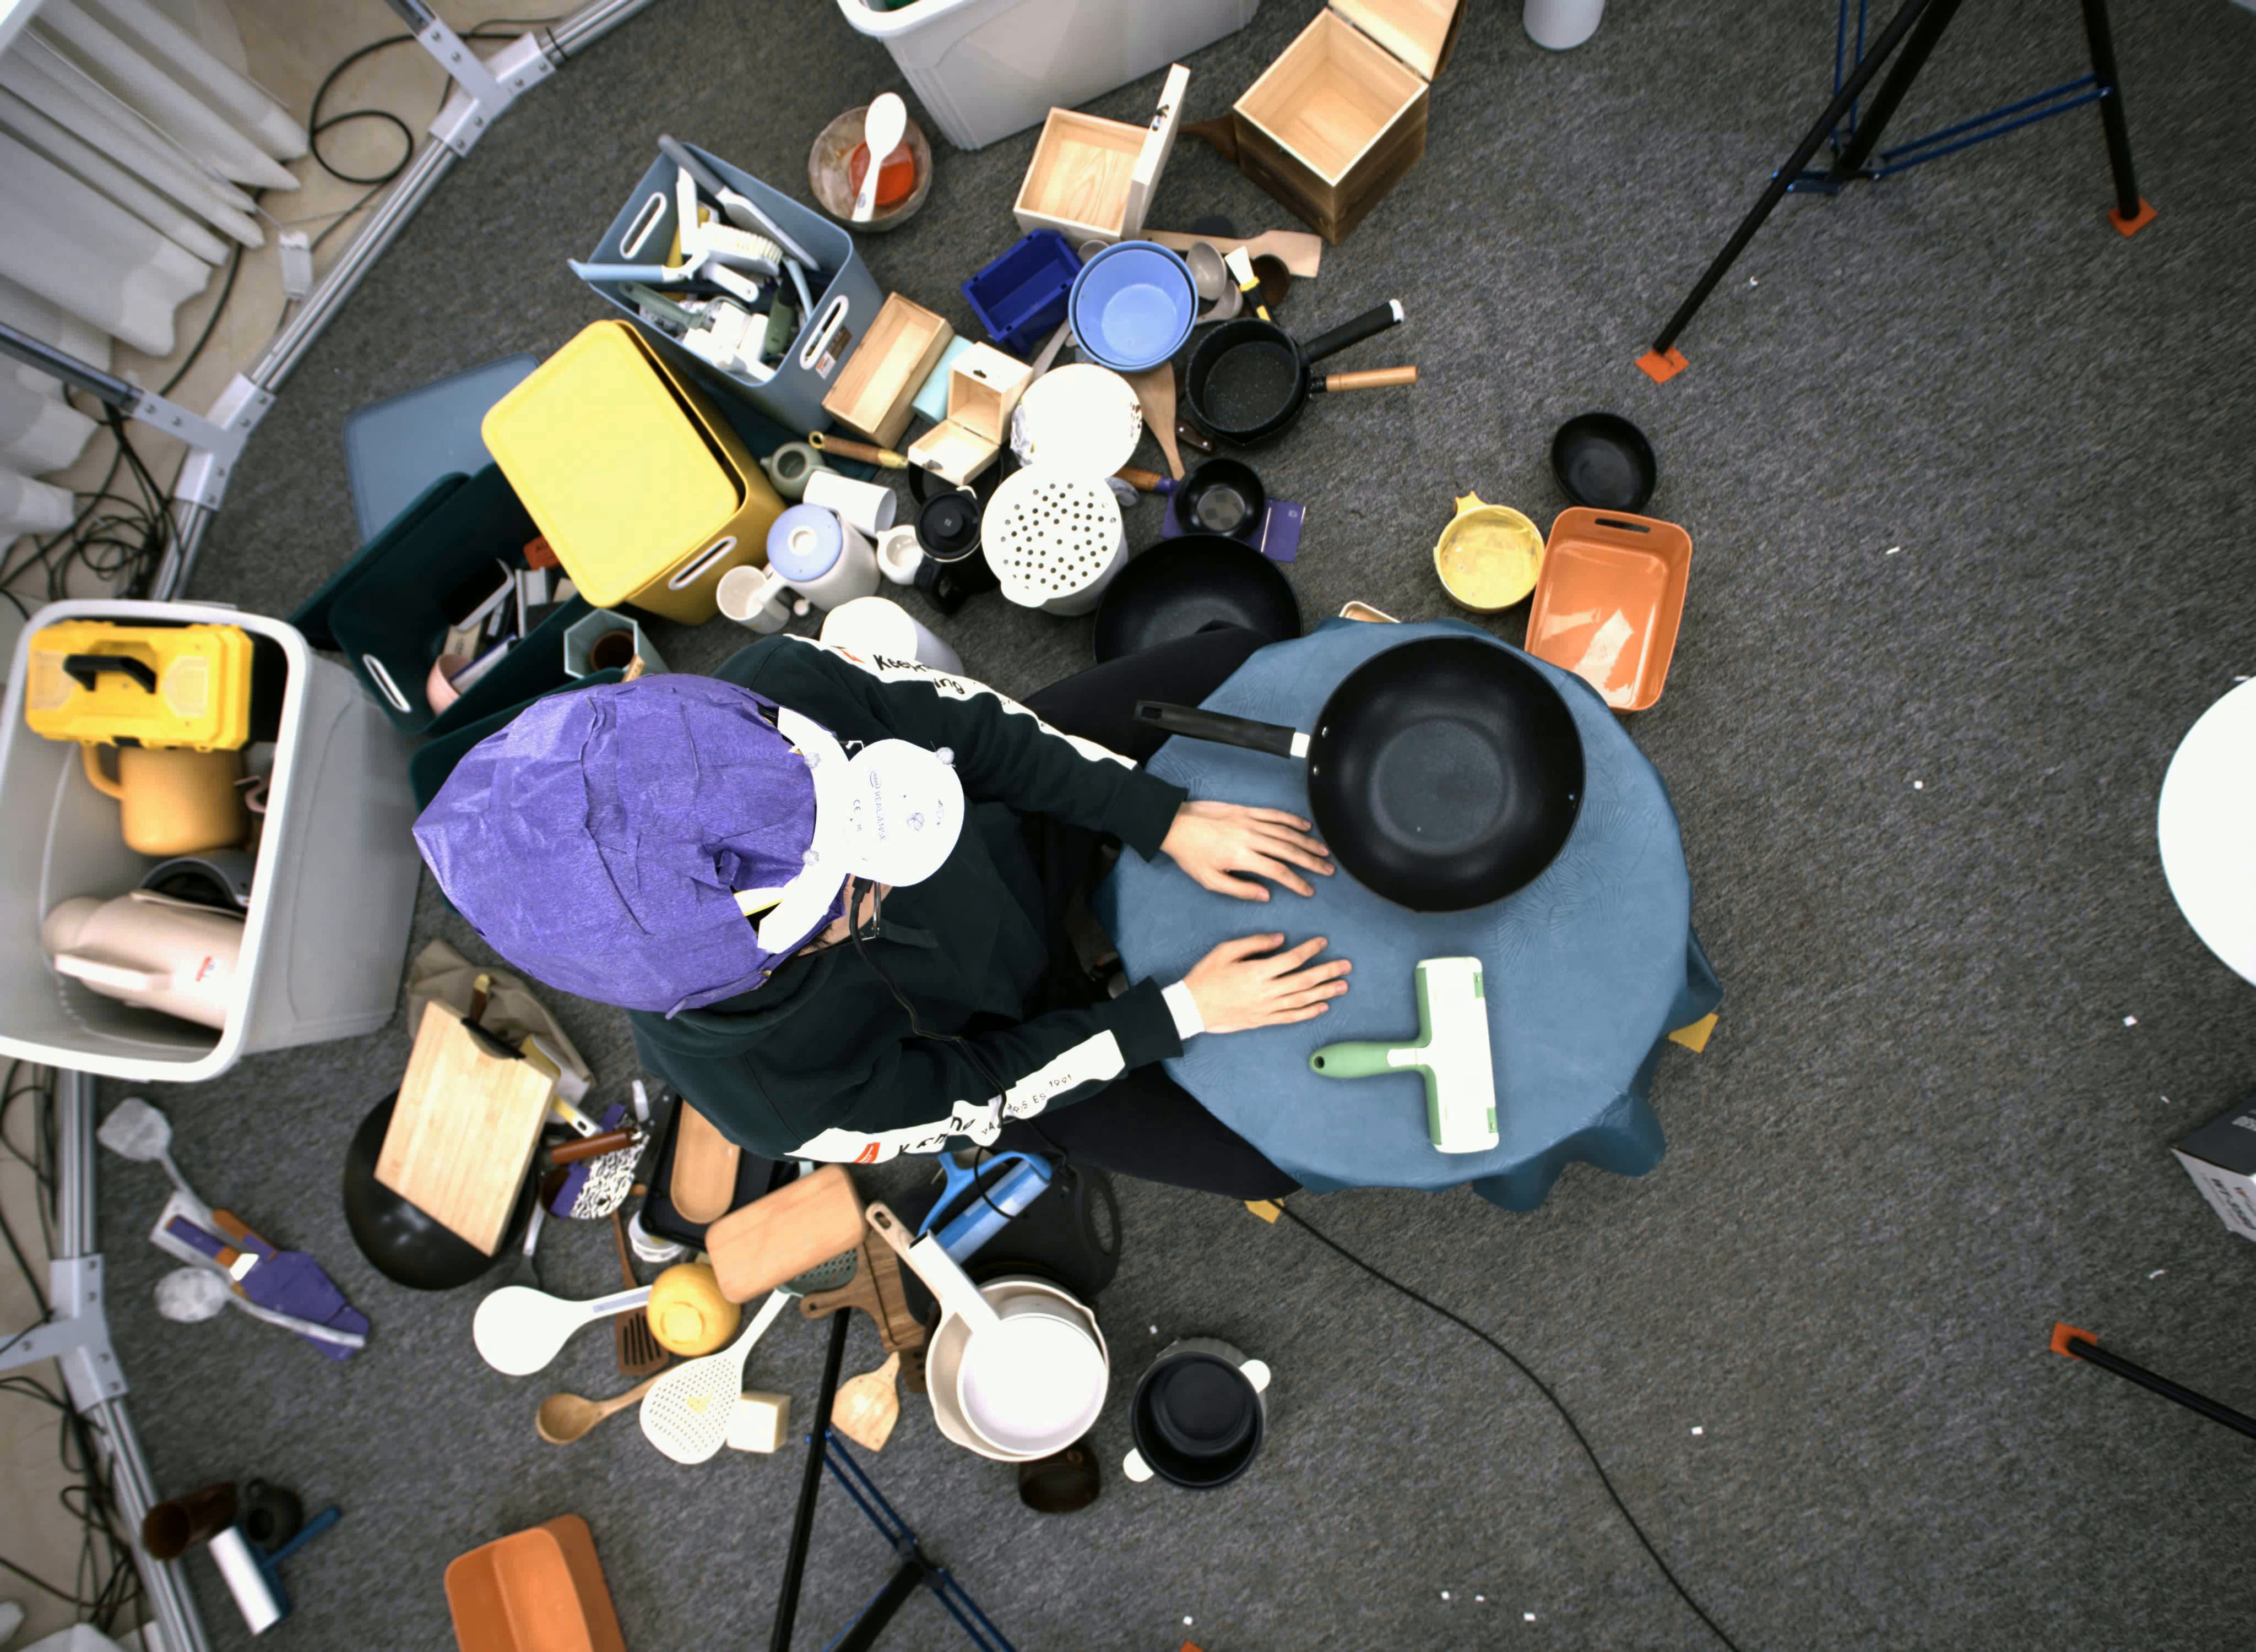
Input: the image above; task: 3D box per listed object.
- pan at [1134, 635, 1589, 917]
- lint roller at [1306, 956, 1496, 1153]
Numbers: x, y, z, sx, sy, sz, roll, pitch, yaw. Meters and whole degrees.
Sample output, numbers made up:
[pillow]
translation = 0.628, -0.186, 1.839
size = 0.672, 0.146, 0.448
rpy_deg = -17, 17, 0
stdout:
[pan]
translation = 0.235, -0.068, 1.427
size = 0.464, 0.087, 0.287
rpy_deg = 12, 89, 12
[lint roller]
translation = 0.275, 0.234, 1.408
size = 0.184, 0.082, 0.197
rpy_deg = -5, 86, 4
